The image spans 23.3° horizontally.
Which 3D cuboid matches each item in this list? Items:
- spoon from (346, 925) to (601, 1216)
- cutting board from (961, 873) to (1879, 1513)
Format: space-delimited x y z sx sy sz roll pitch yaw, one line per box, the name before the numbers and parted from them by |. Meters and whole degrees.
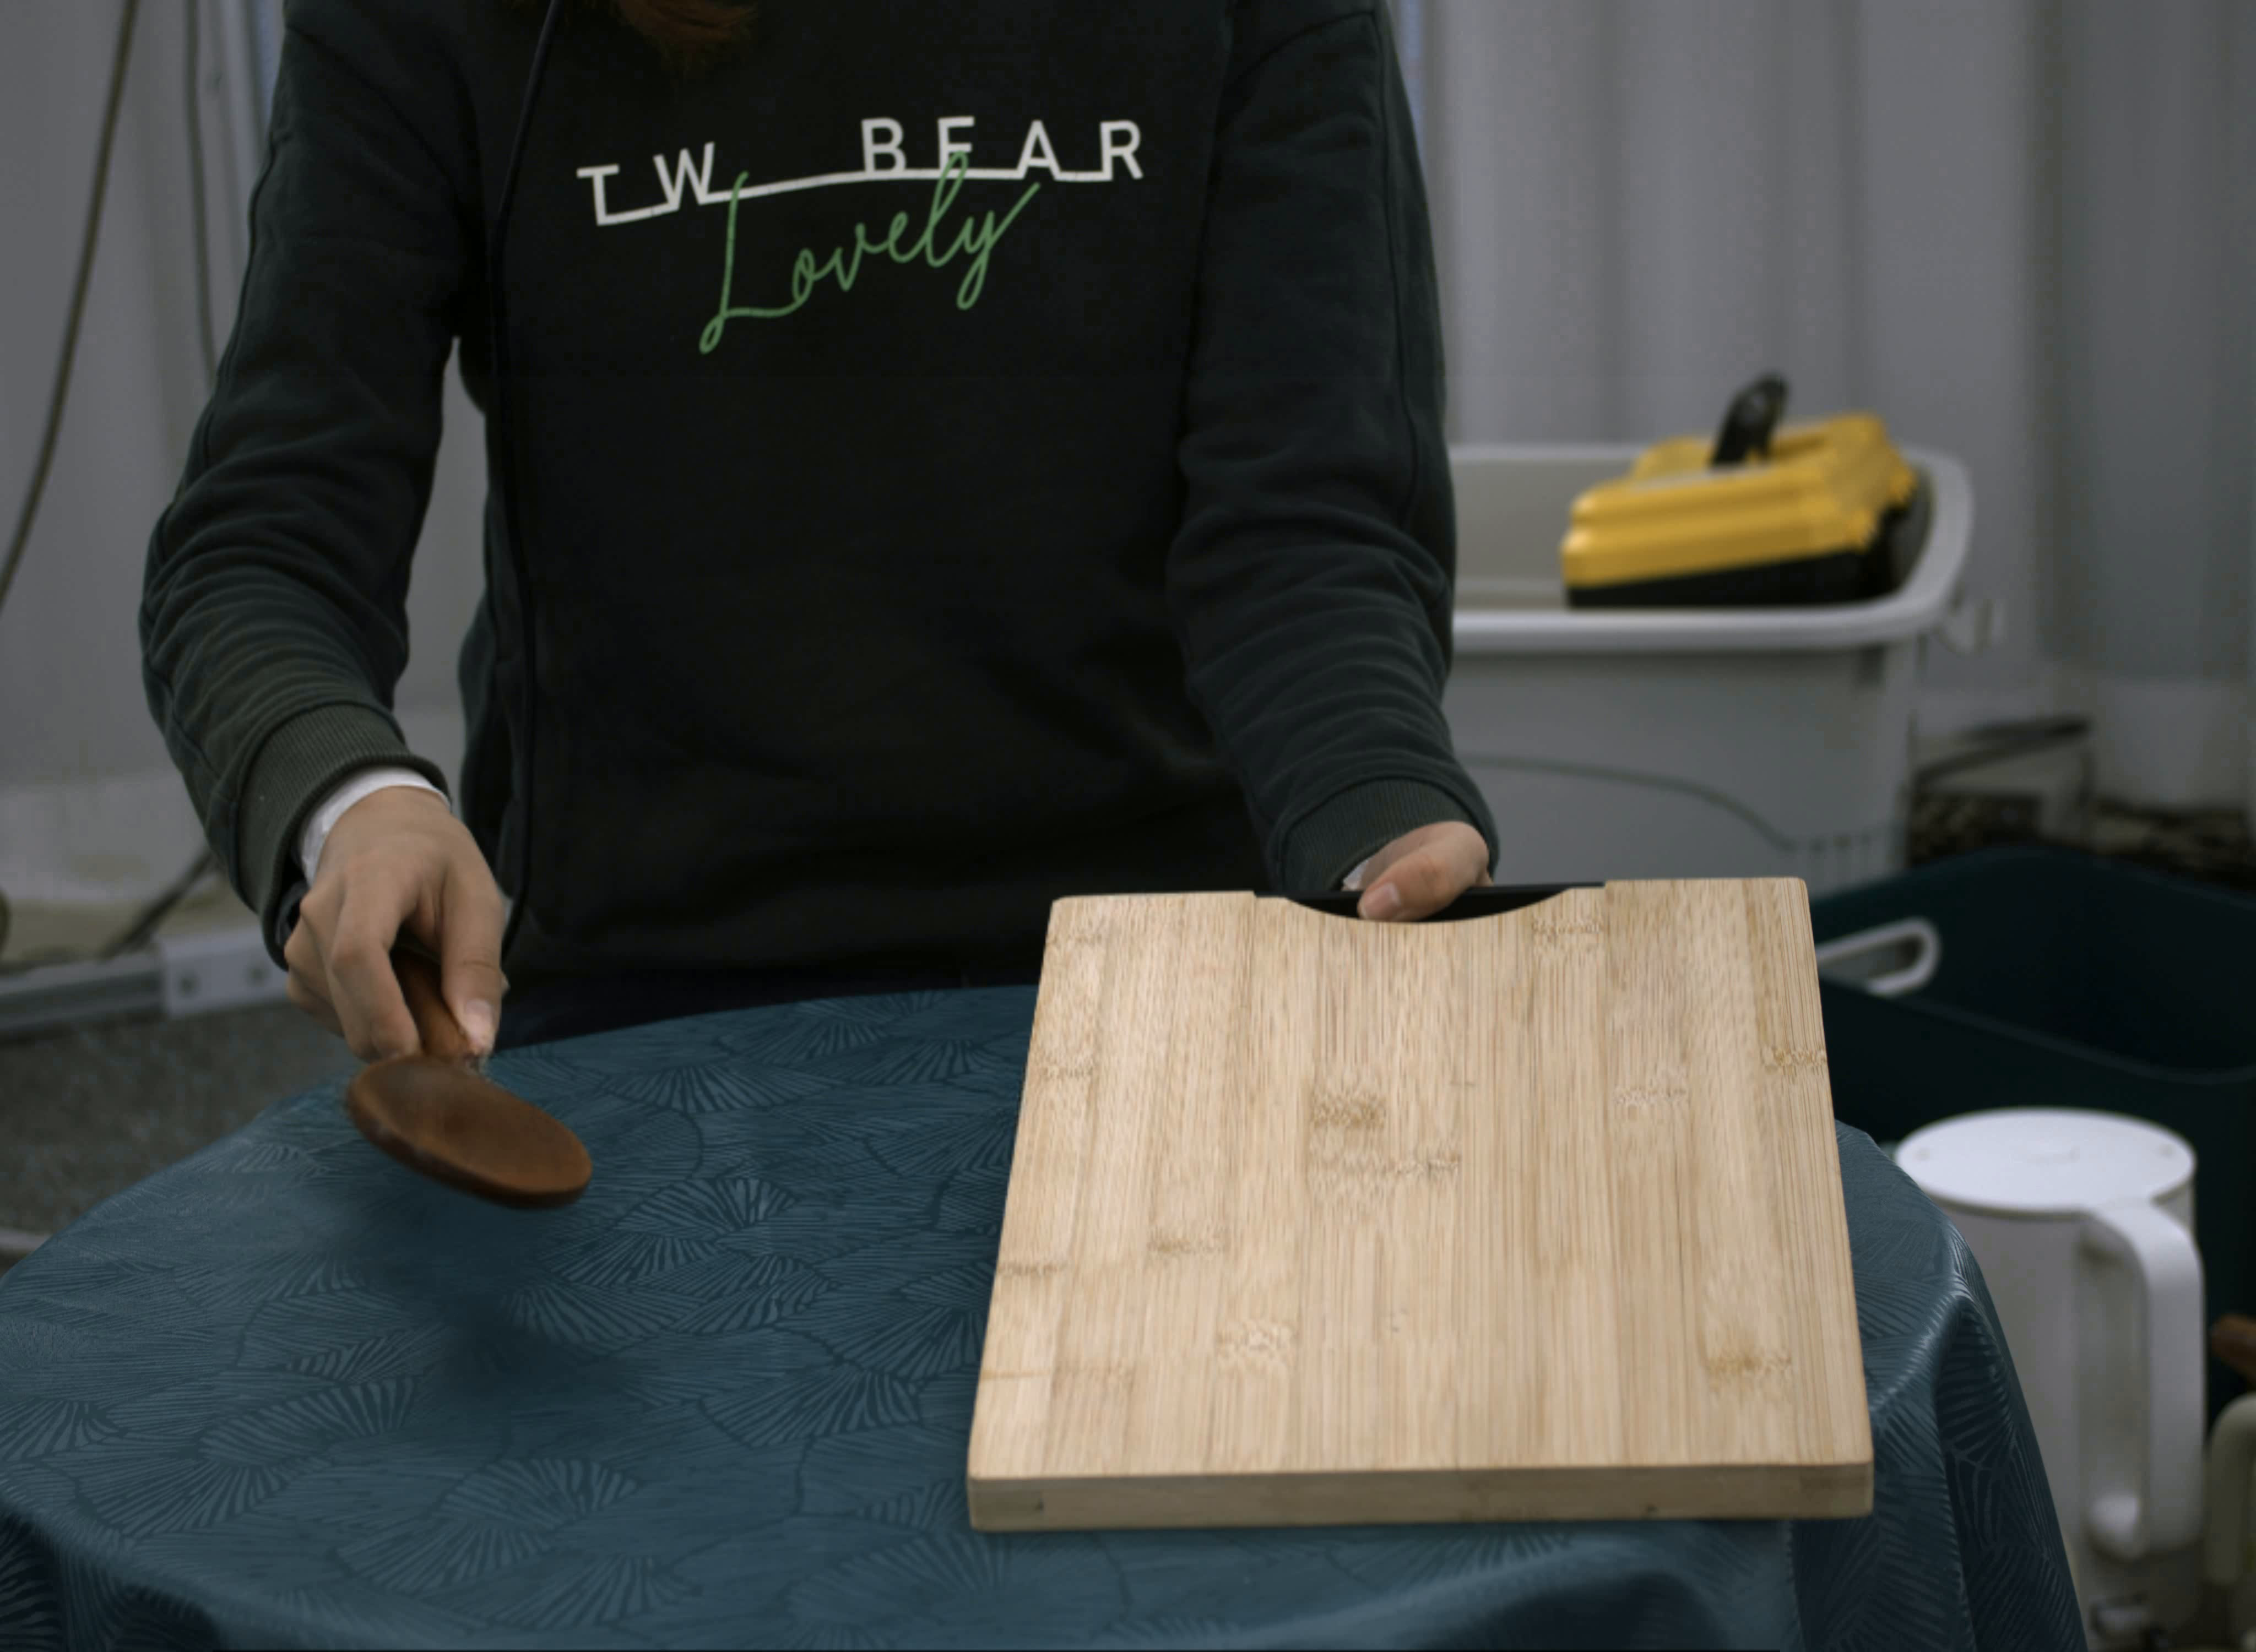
spoon | -0.203 0.074 1.640 0.075 0.017 0.218 15 15 -16
cutting board | 0.087 0.101 1.594 0.250 0.023 0.352 -1 26 3
